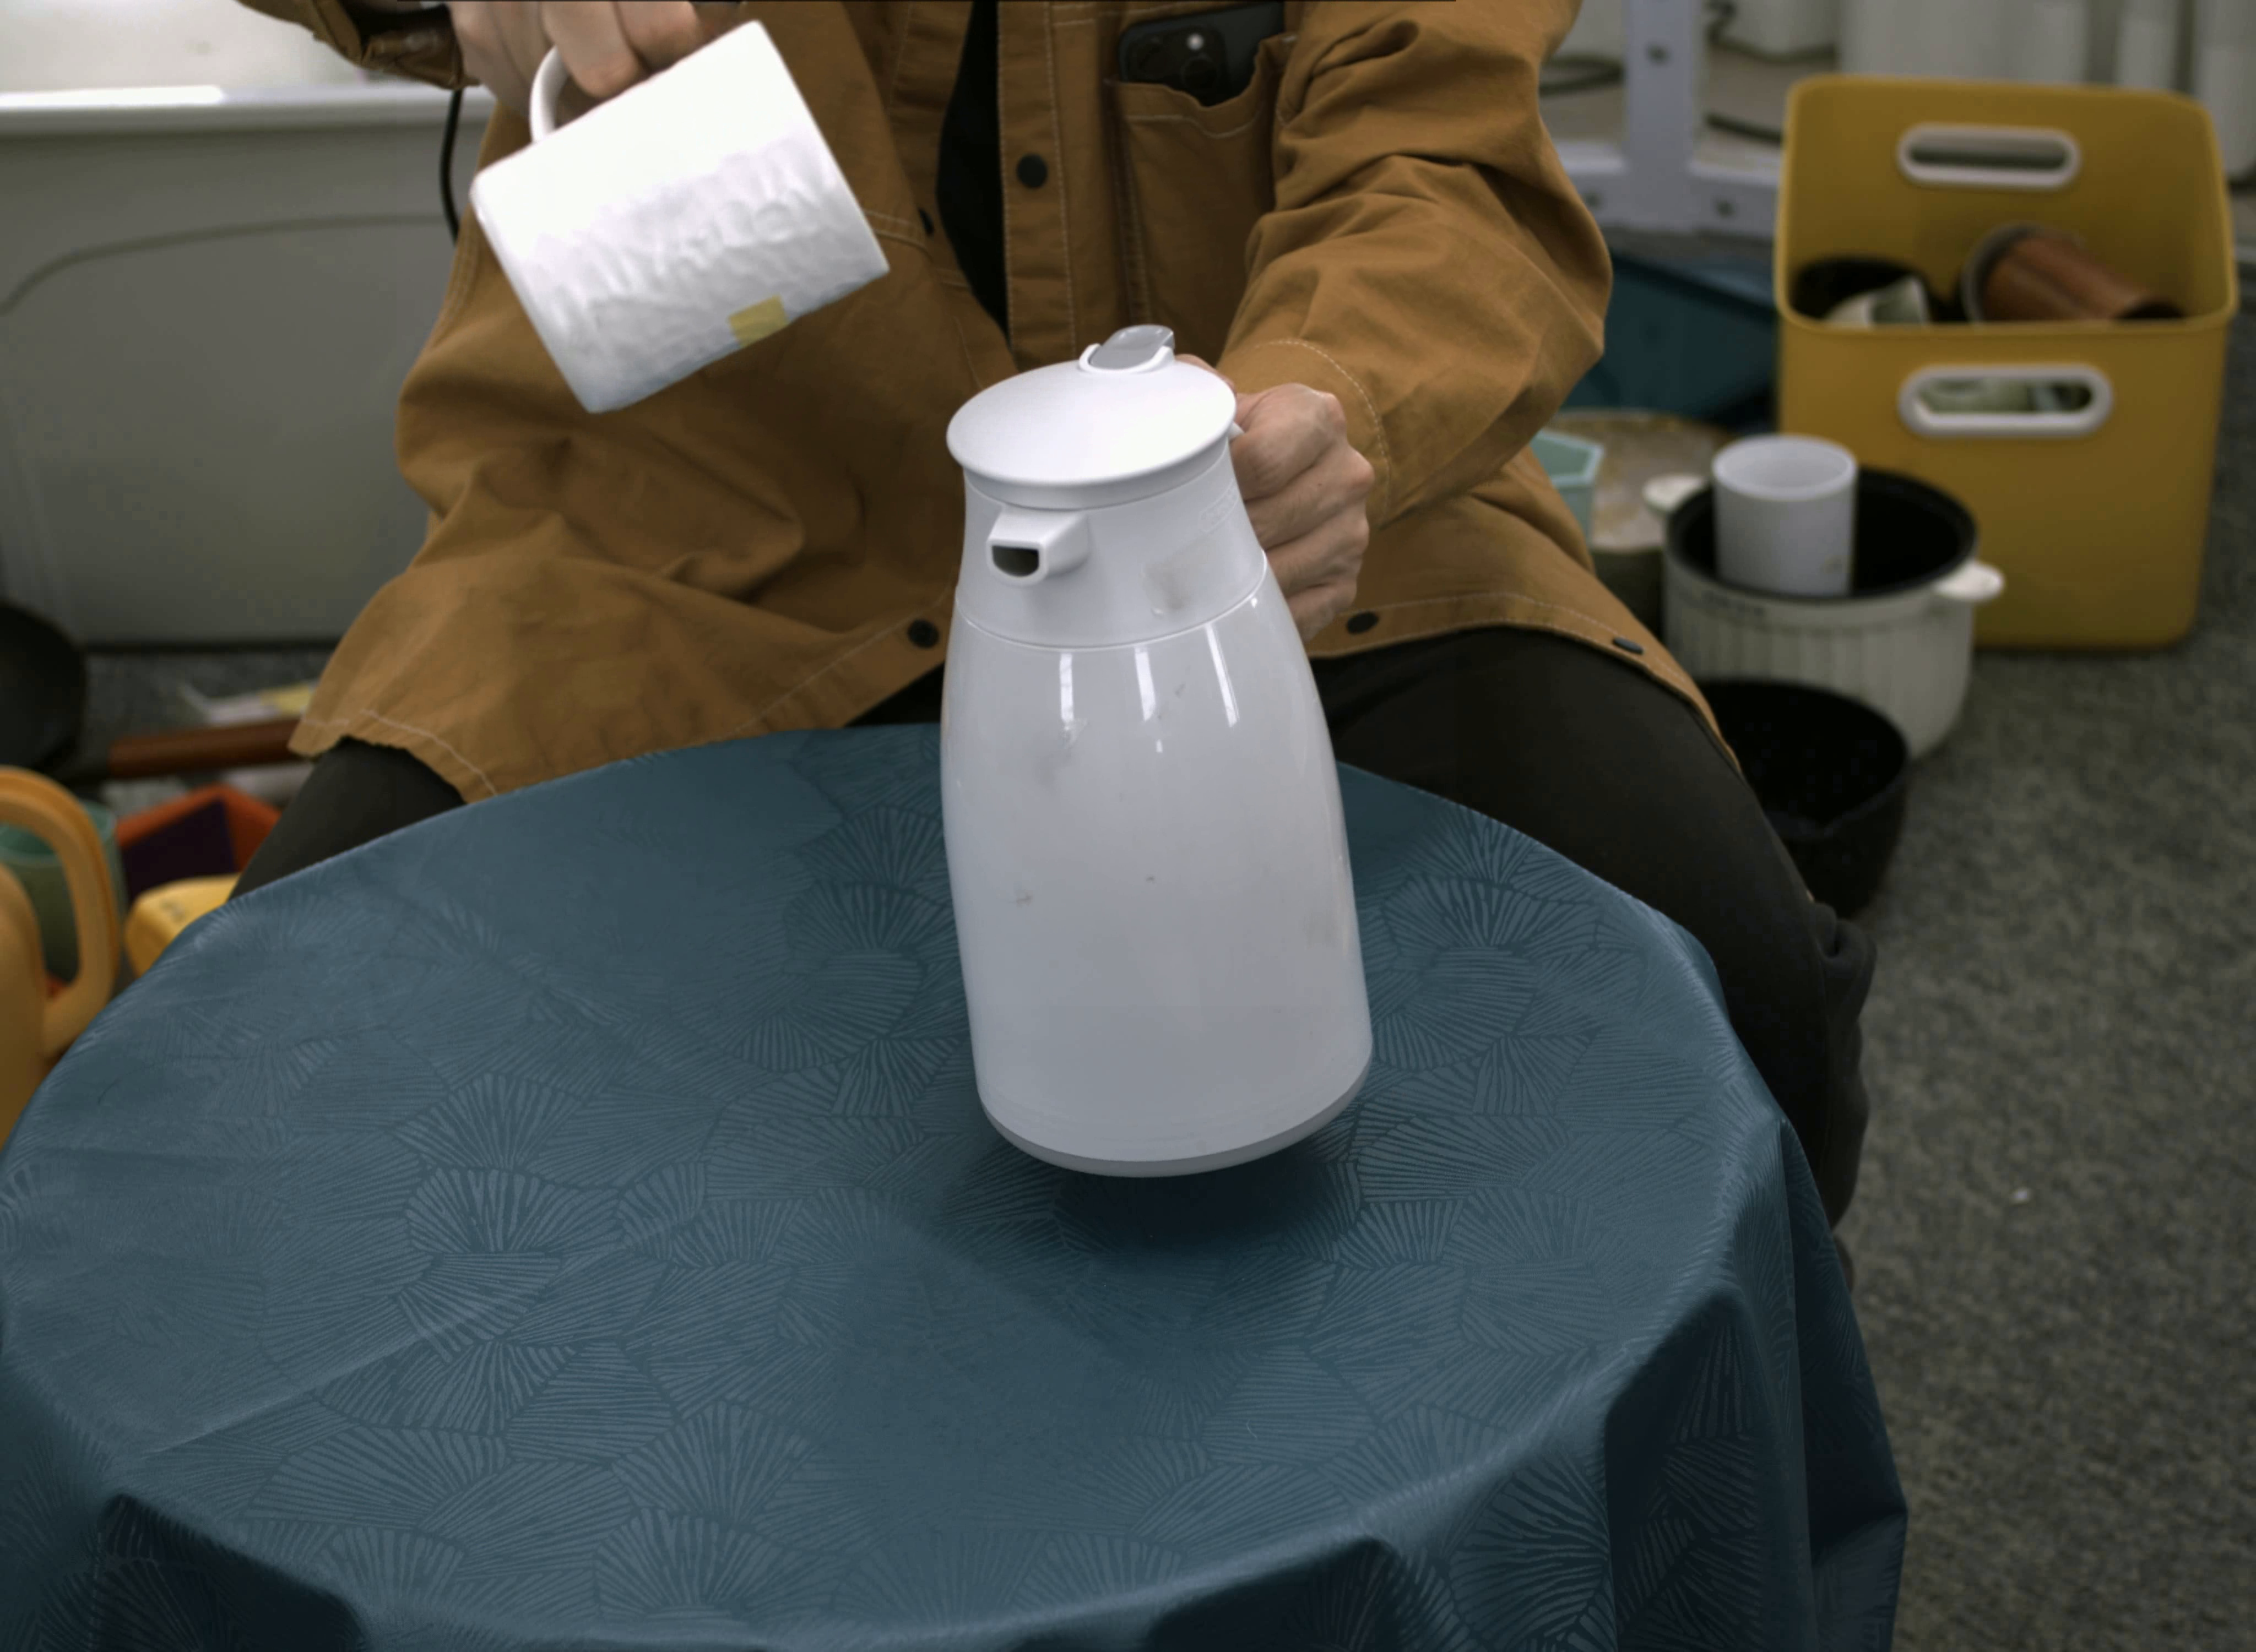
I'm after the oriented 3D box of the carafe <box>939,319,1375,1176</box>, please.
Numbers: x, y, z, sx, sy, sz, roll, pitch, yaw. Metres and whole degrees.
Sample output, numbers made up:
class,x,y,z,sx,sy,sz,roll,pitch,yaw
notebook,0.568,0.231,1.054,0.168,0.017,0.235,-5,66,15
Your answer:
class,x,y,z,sx,sy,sz,roll,pitch,yaw
carafe,0.007,-0.036,1.822,0.131,0.246,0.170,3,28,23

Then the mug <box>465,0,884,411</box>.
class,x,y,z,sx,sy,sz,roll,pitch,yaw
mug,-0.145,-0.197,1.715,0.102,0.084,0.119,-29,67,-1
